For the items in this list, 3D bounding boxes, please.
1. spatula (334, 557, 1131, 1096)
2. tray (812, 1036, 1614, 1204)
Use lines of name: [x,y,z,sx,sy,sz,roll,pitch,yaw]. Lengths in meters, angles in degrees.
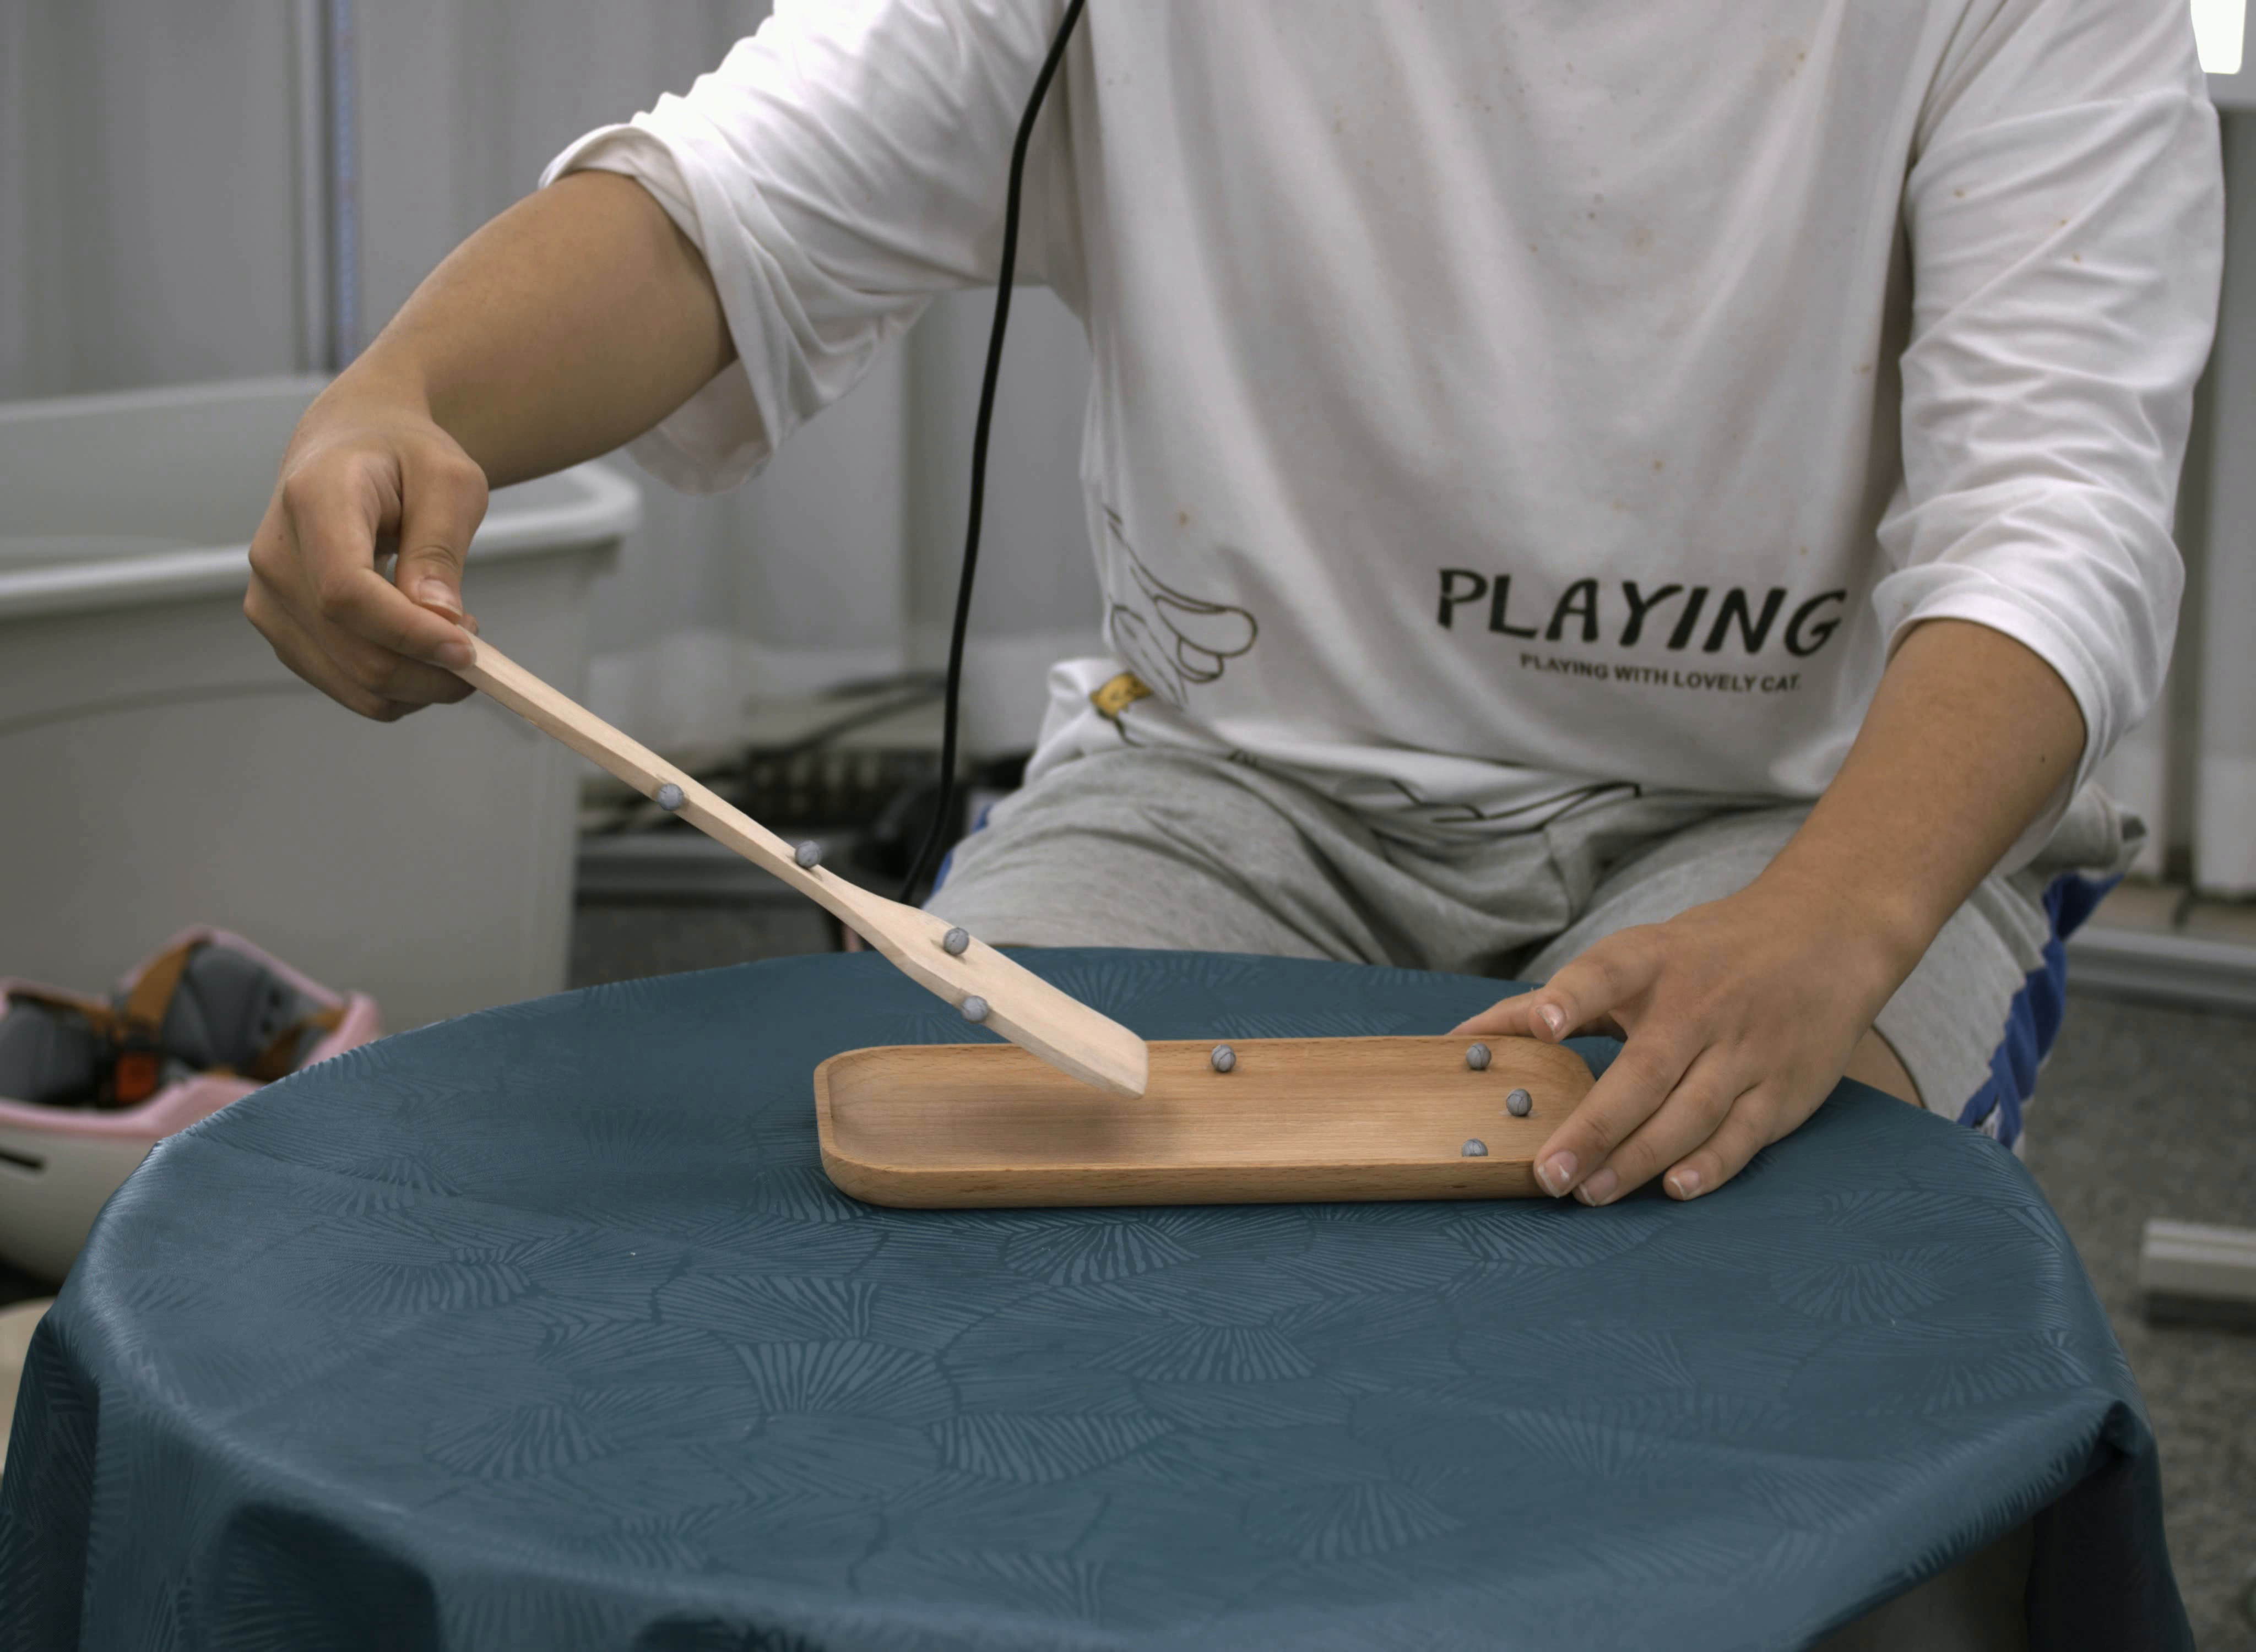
spatula: [-0.123,-0.001,1.638,0.294,0.011,0.072,33,12,-8]
tray: [0.025,0.093,1.673,0.250,0.023,0.130,-1,13,-5]
